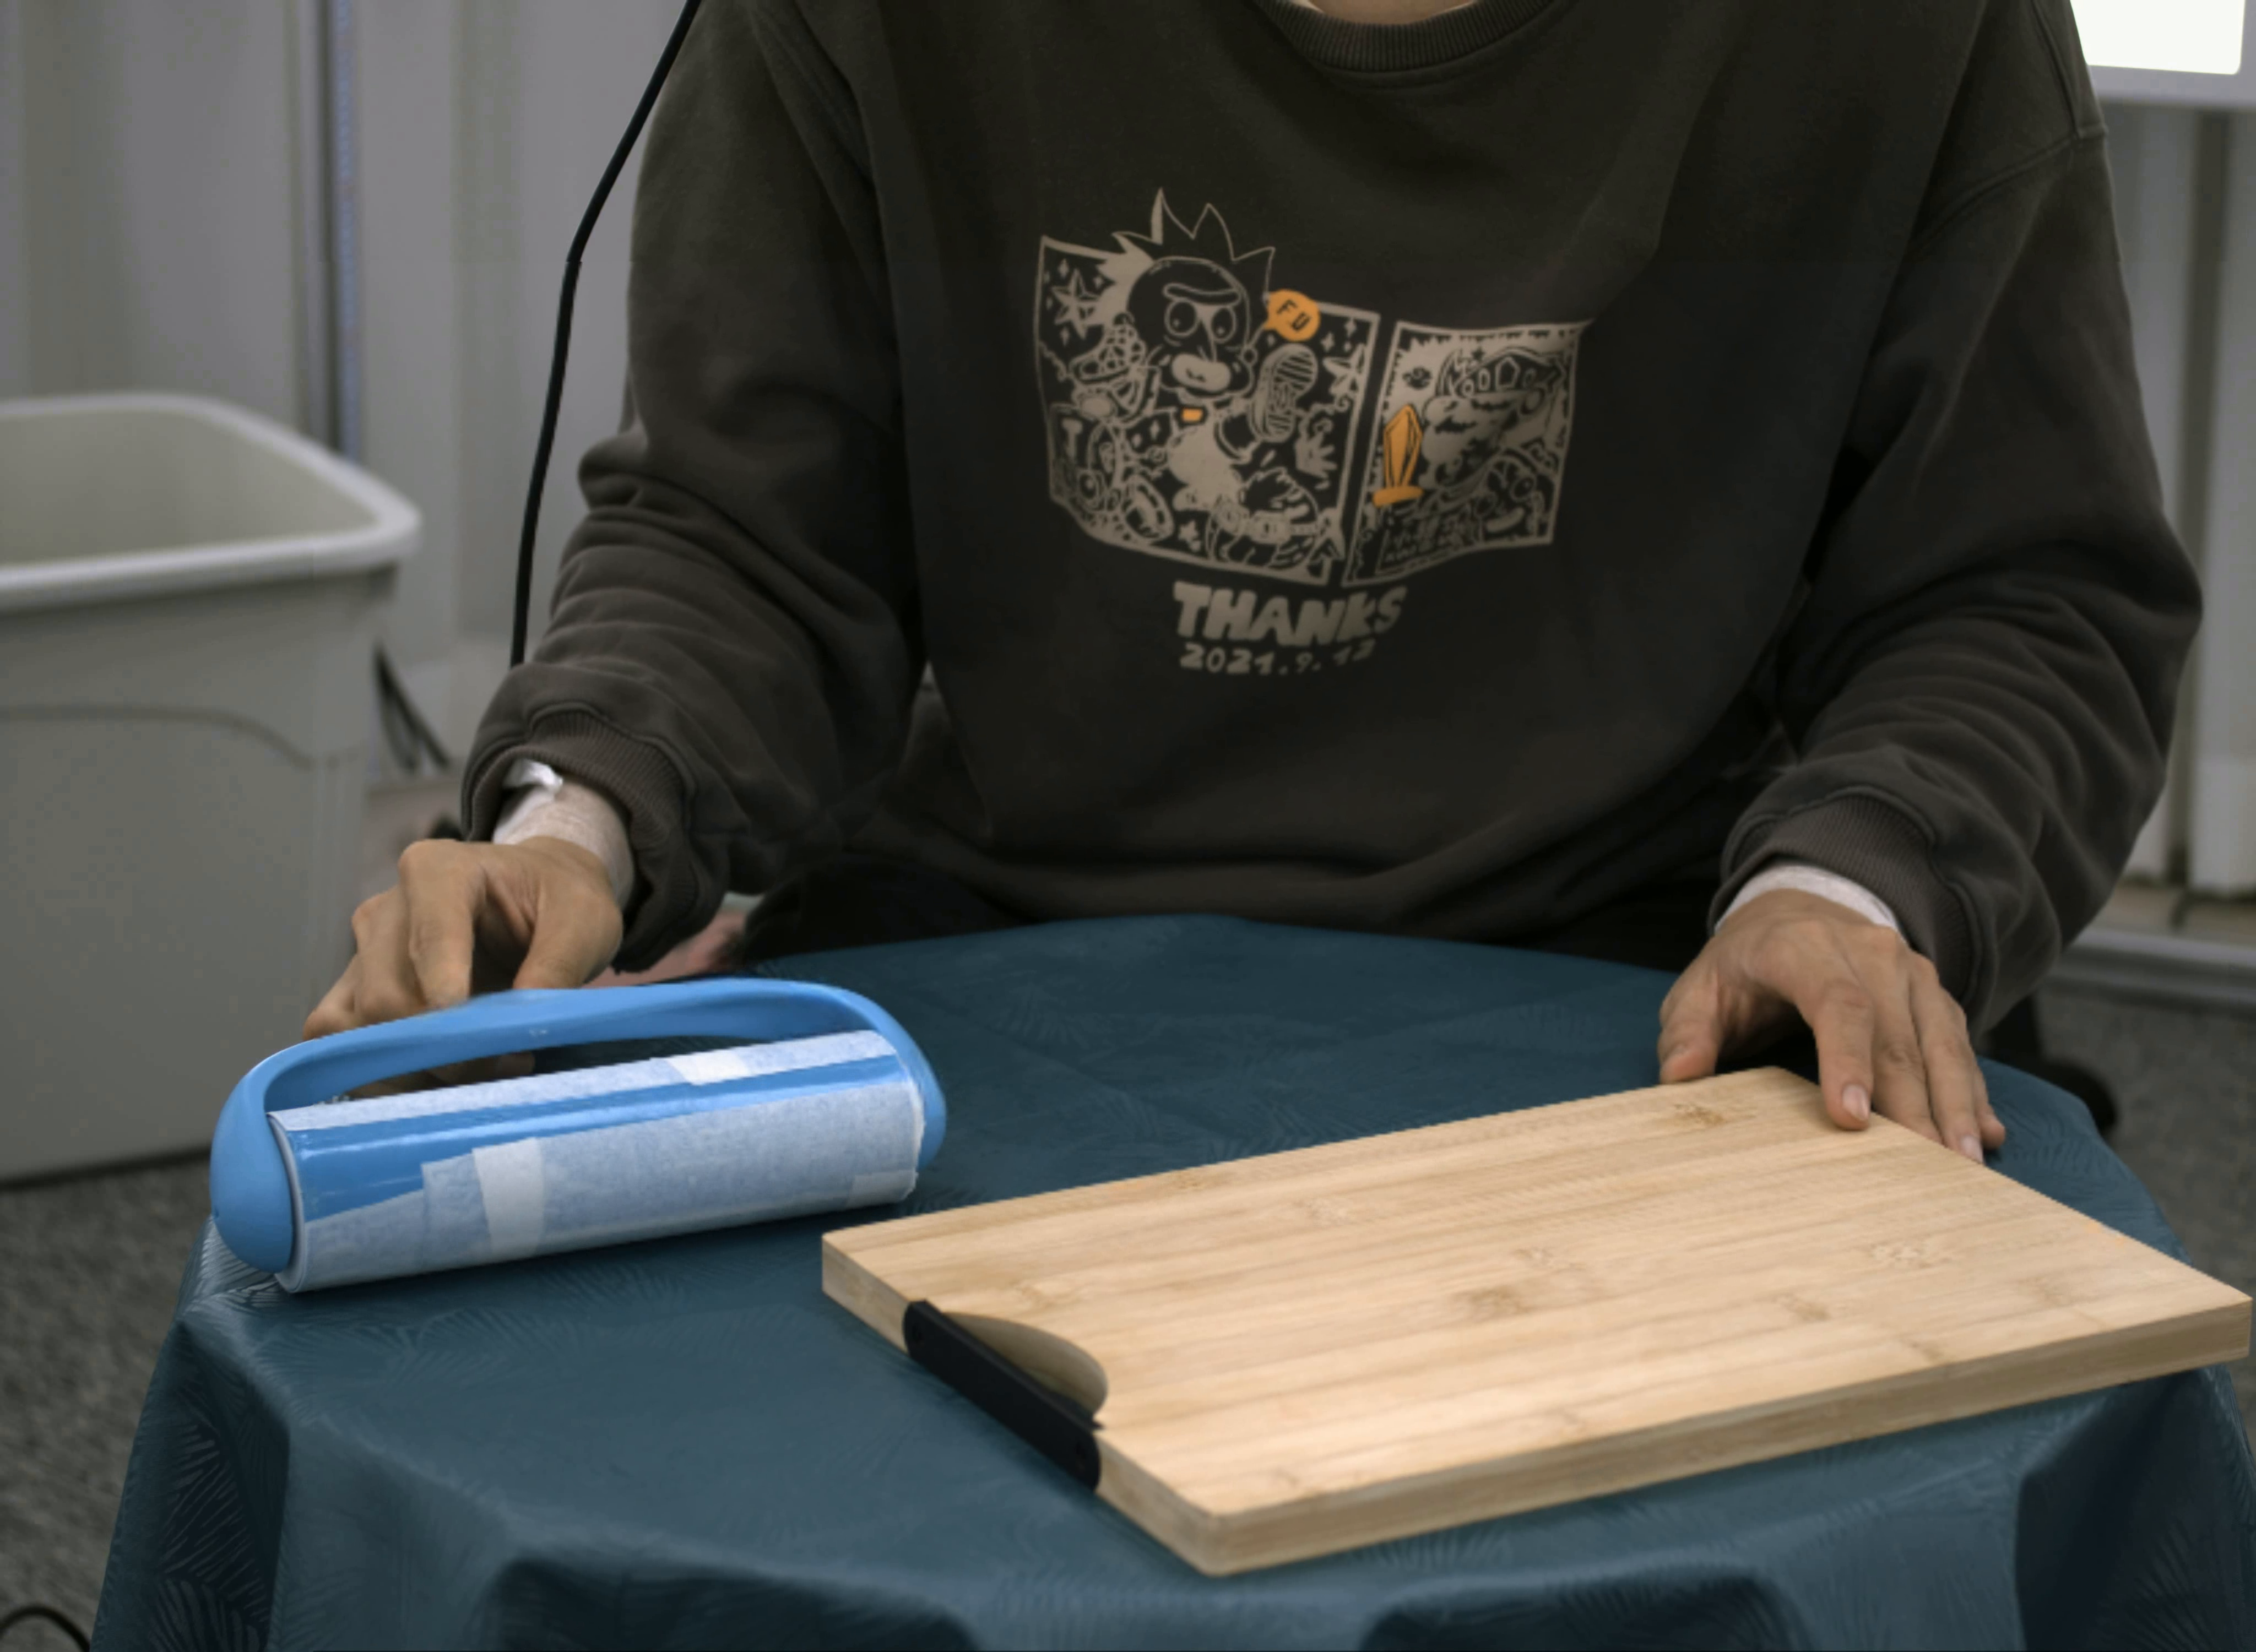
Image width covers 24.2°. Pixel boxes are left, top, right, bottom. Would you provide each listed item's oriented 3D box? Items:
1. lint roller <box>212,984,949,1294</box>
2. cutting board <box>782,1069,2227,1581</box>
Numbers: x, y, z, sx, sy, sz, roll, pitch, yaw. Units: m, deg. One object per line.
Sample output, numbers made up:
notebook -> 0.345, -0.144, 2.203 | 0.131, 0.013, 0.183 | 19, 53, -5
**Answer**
lint roller -> -0.187, 0.082, 1.621 | 0.230, 0.068, 0.178 | -9, 20, -26
cutting board -> 0.108, 0.136, 1.519 | 0.350, 0.024, 0.247 | -8, 17, -28
